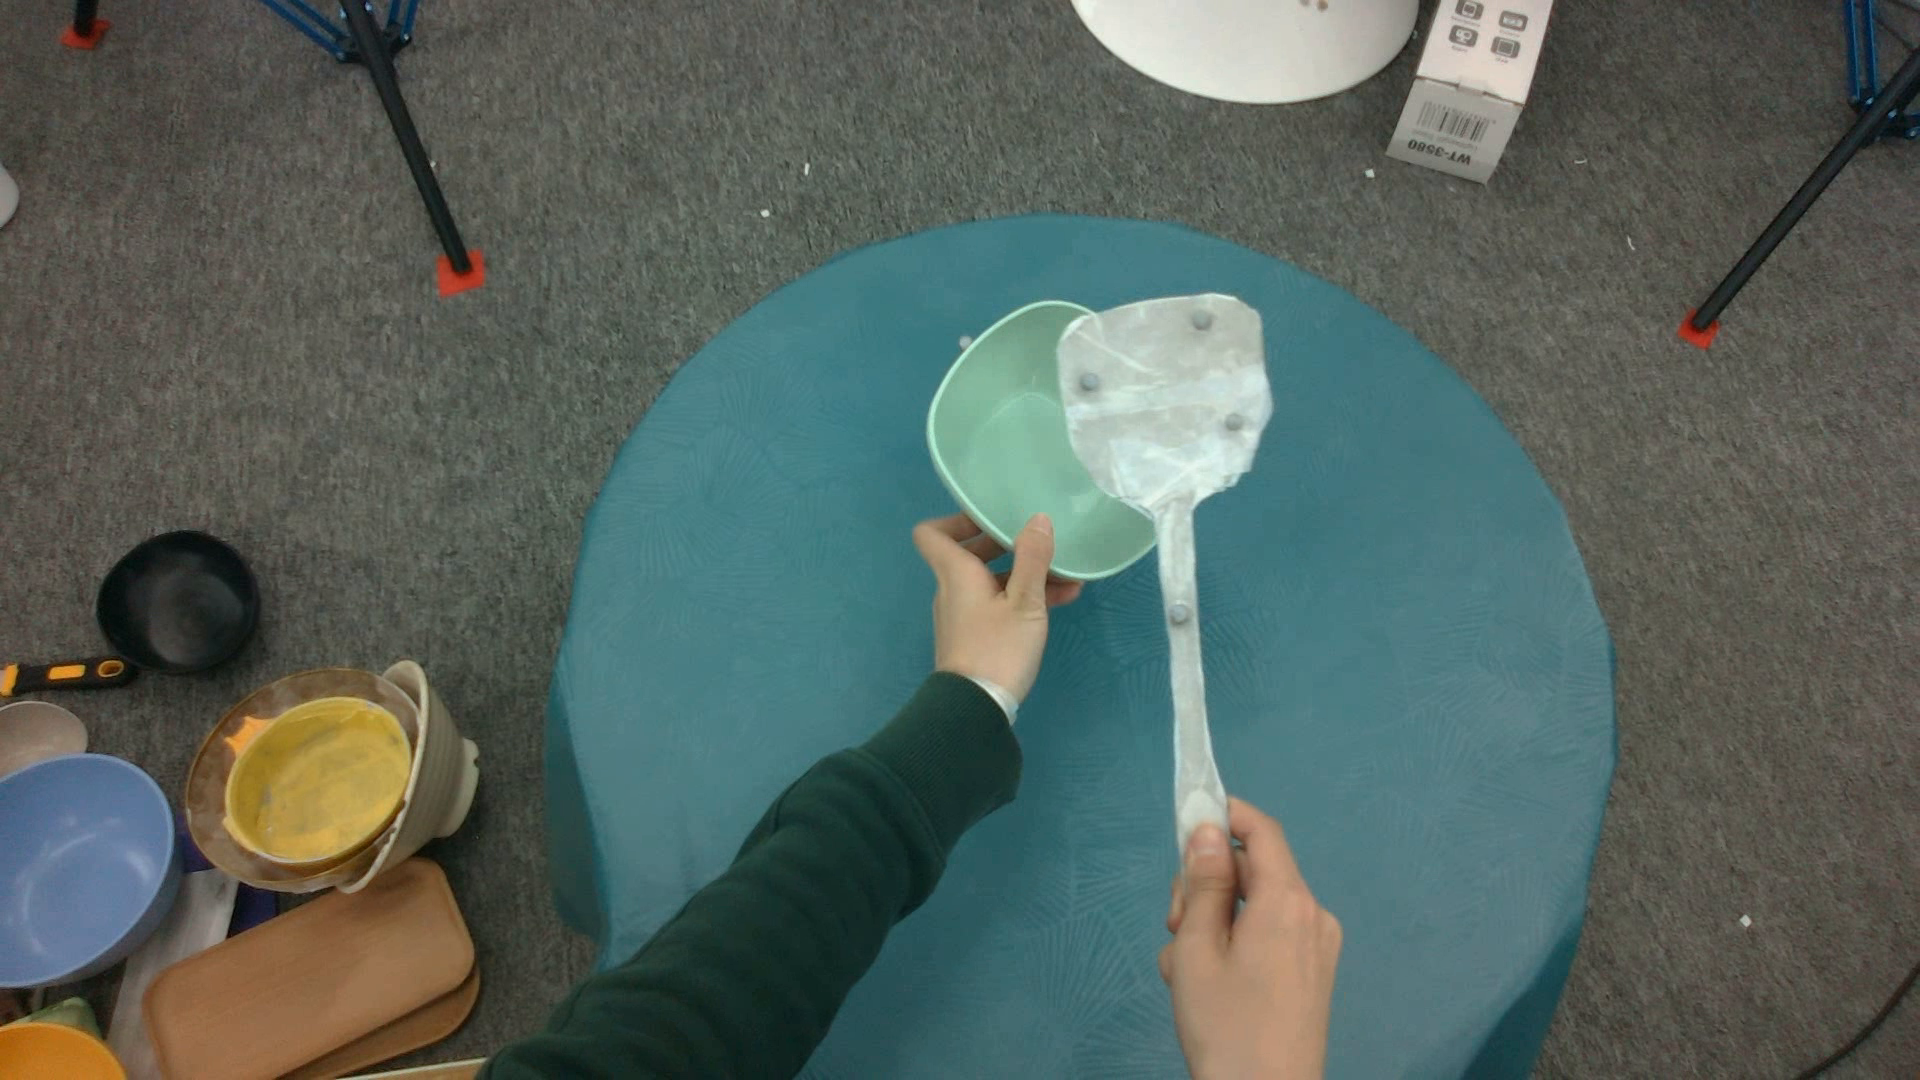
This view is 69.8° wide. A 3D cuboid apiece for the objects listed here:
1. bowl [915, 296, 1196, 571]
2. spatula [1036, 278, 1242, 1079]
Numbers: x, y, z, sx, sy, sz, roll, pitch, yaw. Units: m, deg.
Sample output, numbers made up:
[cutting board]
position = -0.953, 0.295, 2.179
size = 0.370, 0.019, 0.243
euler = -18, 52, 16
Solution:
[bowl]
position = 0.044, -0.048, 0.725
size = 0.151, 0.058, 0.152
euler = 5, 69, -14
[spatula]
position = 0.089, 0.047, 0.597
size = 0.098, 0.044, 0.366
euler = -5, 63, 7
